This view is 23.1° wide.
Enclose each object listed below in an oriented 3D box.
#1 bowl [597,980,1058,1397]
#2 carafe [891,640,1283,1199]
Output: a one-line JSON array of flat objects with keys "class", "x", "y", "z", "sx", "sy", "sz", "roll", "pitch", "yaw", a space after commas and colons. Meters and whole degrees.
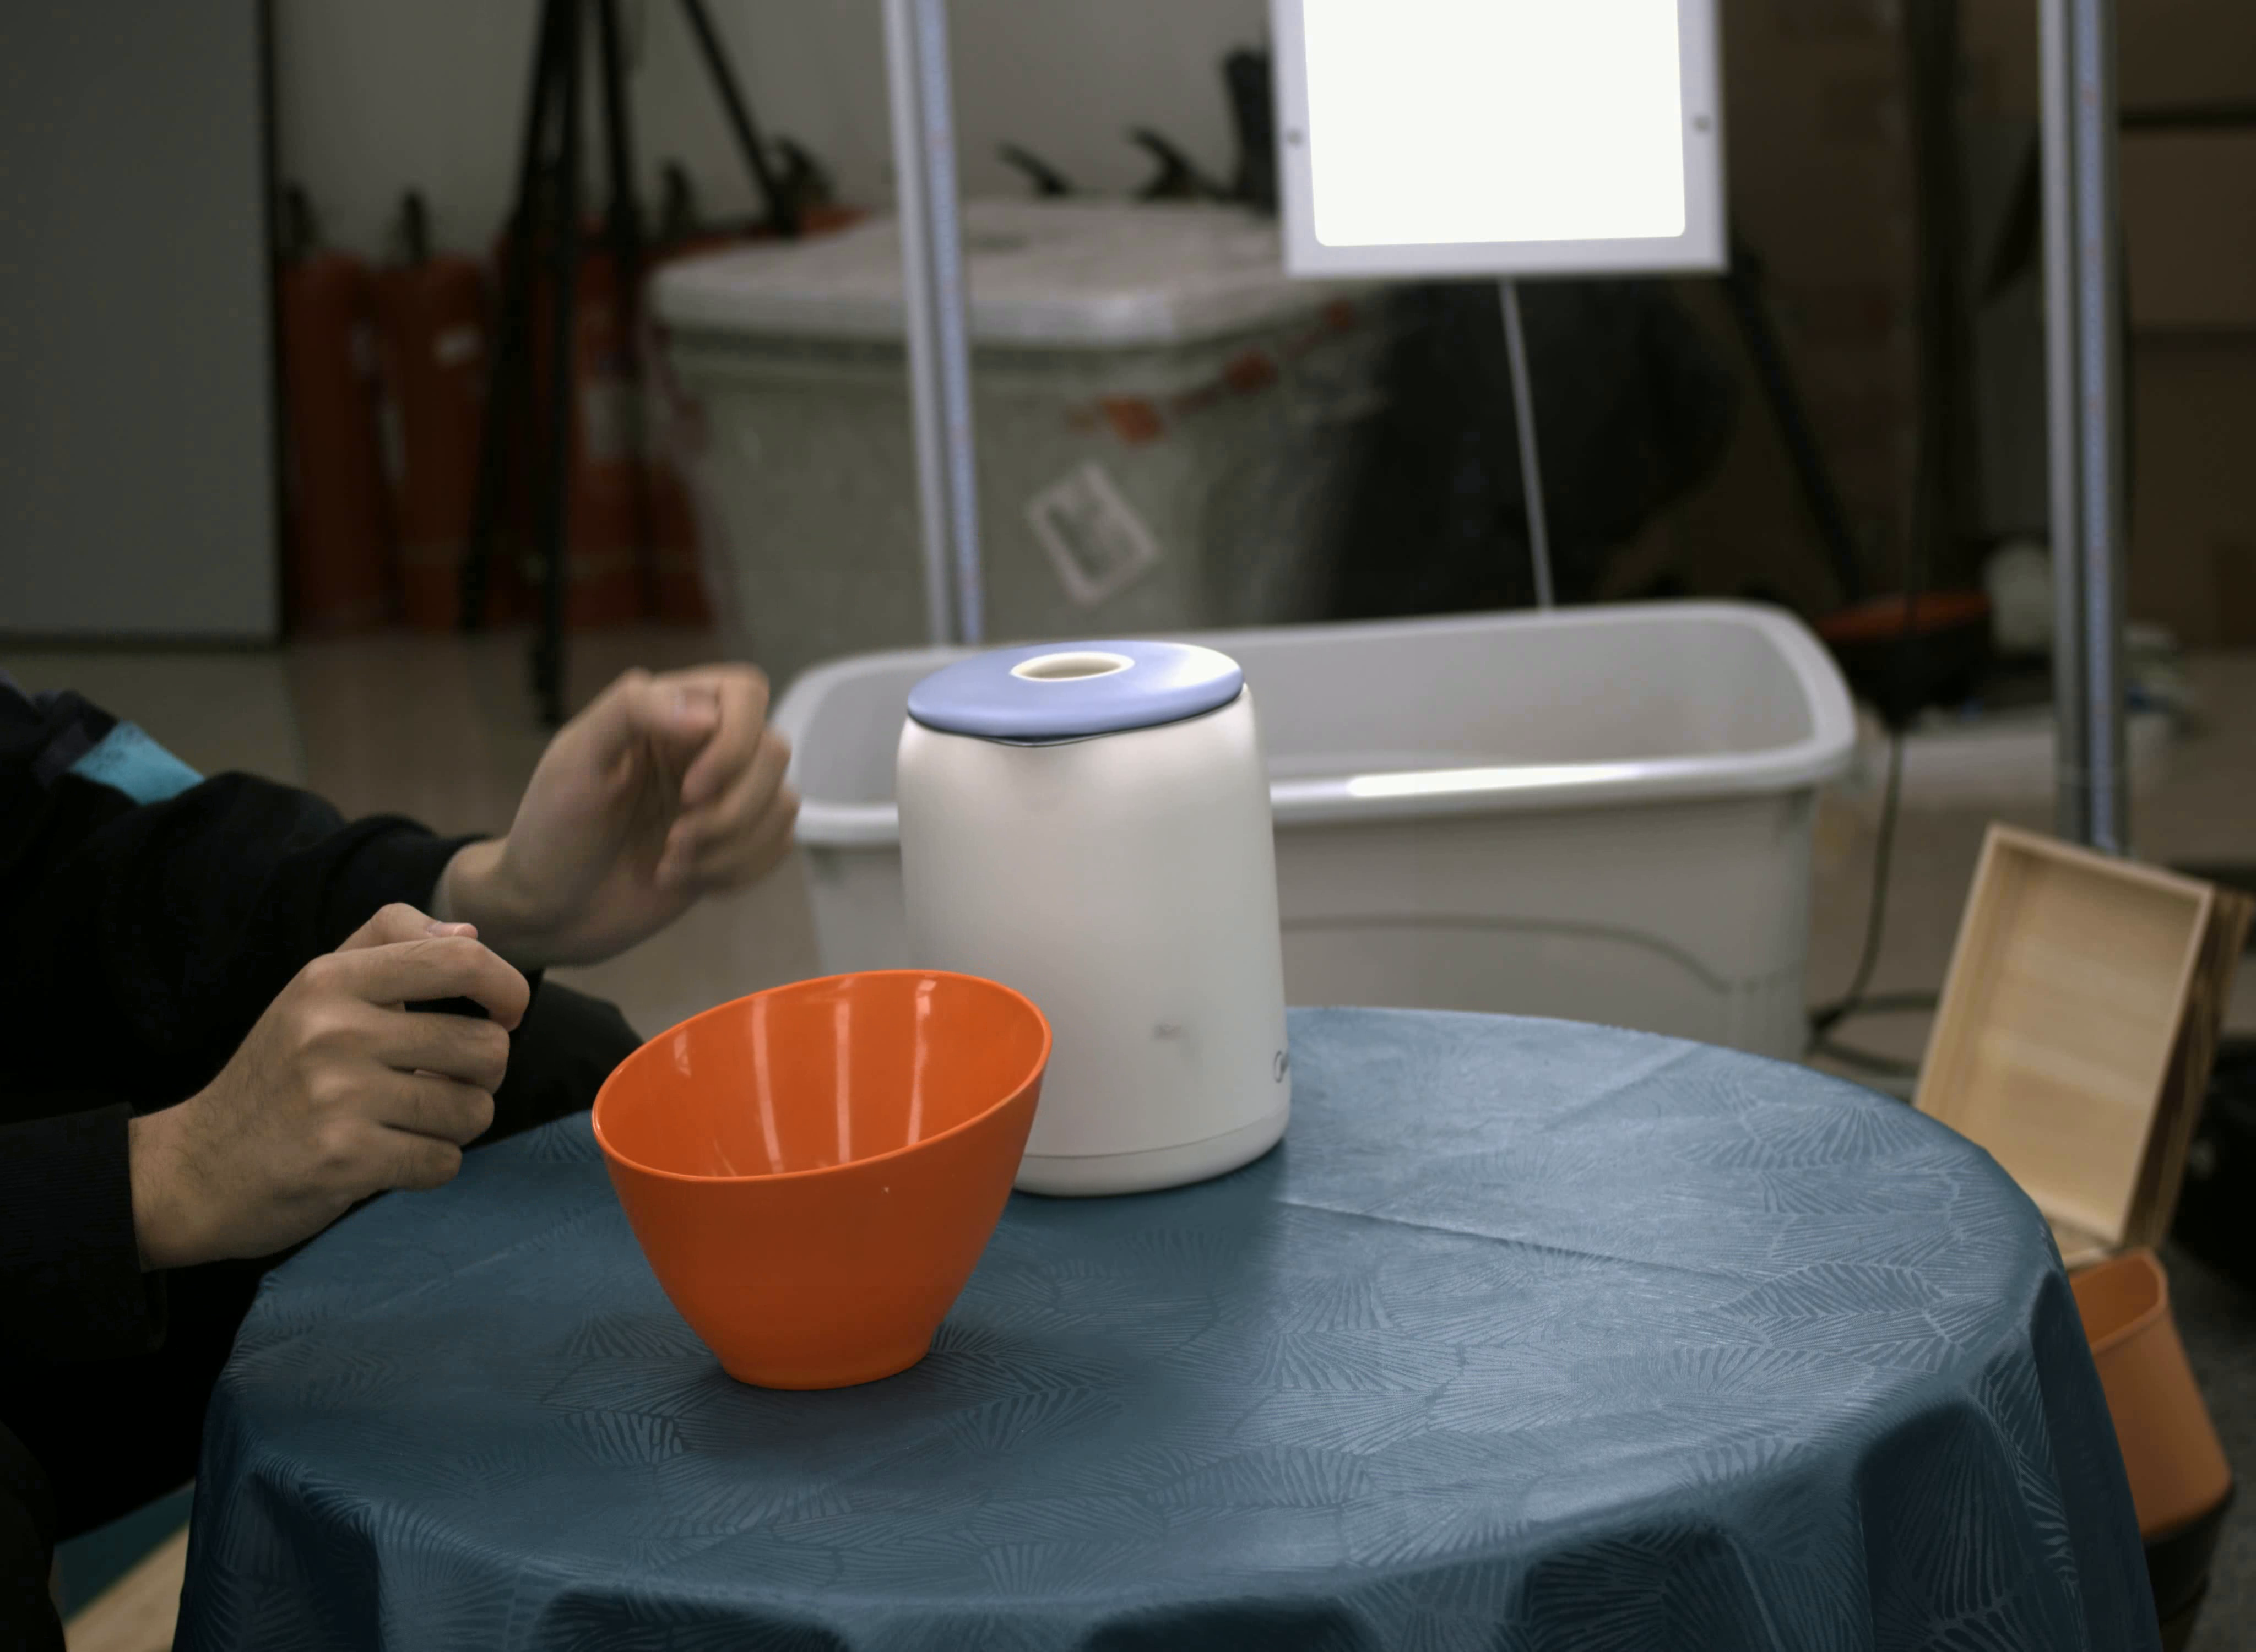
[{"class": "bowl", "x": -0.092, "y": 0.118, "z": 1.752, "sx": 0.147, "sy": 0.105, "sz": 0.148, "roll": -5, "pitch": 13, "yaw": 0}, {"class": "carafe", "x": -0.010, "y": 0.026, "z": 1.949, "sx": 0.133, "sy": 0.183, "sz": 0.189, "roll": -1, "pitch": 12, "yaw": 11}]
